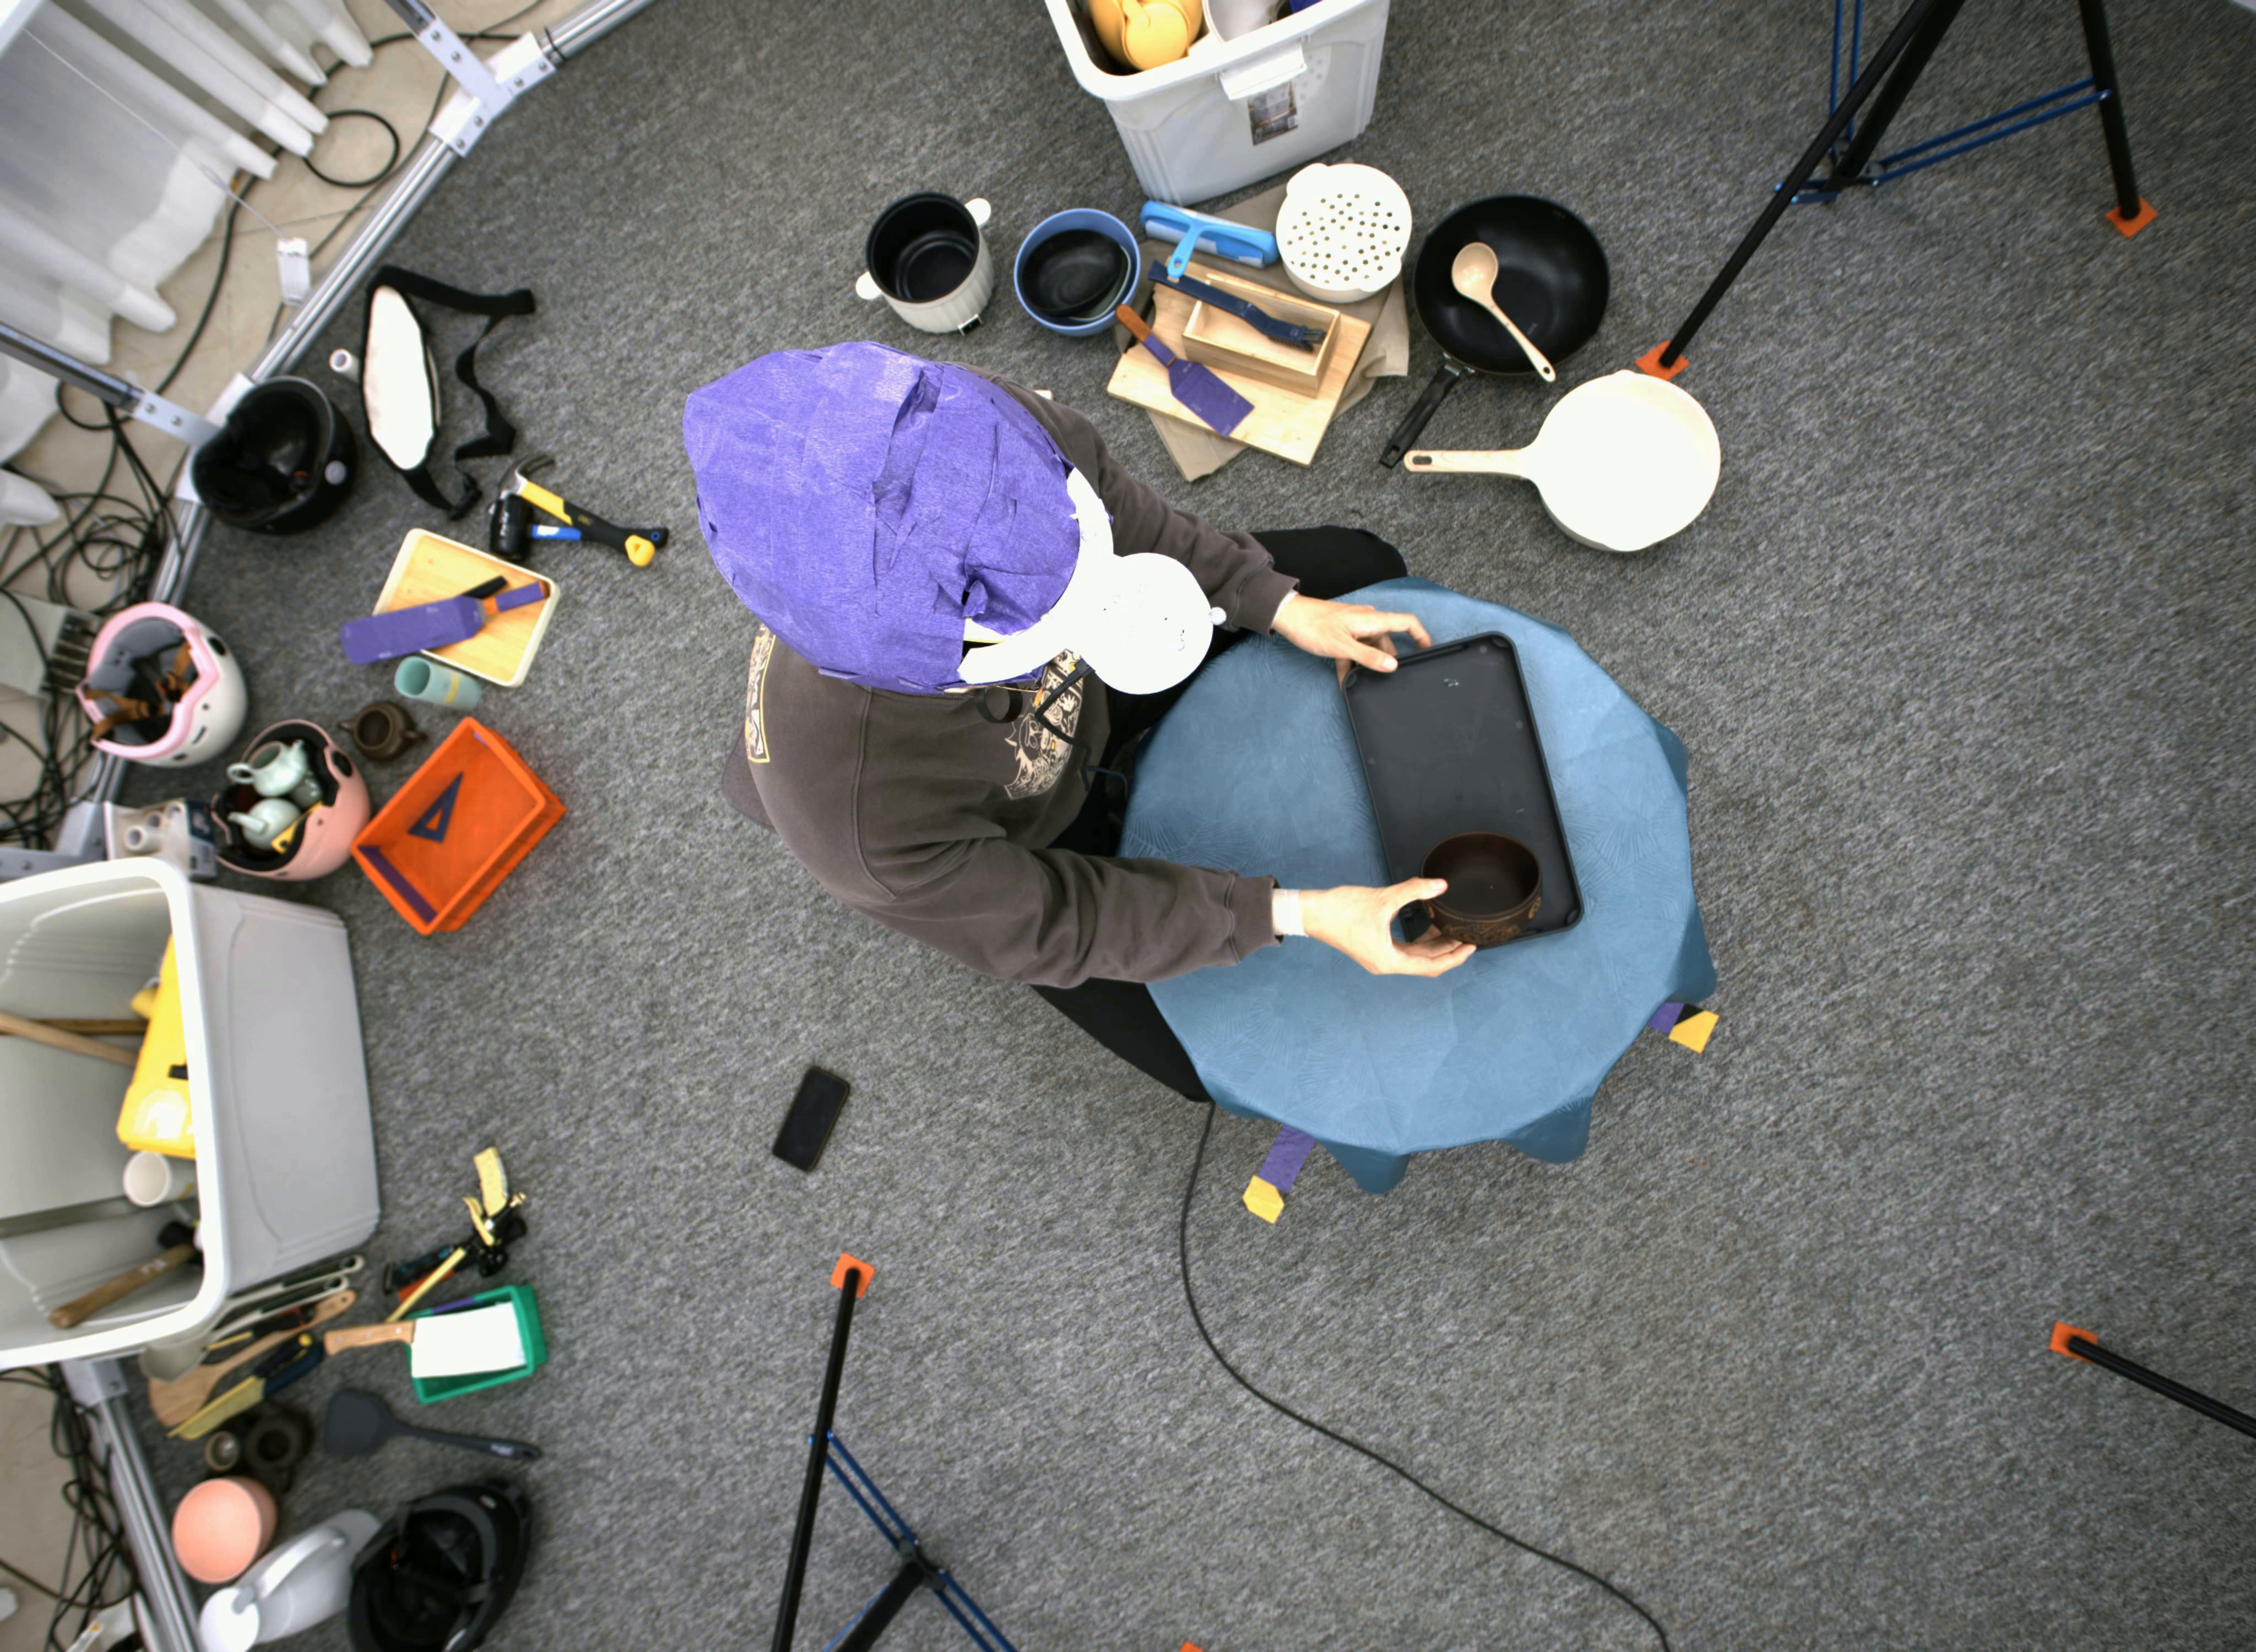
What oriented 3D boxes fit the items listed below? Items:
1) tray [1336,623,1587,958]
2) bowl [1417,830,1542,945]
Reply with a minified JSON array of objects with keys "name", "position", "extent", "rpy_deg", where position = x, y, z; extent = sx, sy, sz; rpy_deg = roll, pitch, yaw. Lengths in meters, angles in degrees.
[{"name":"tray","position":[0.343,-0.038,1.423],"extent":[0.185,0.037,0.317],"rpy_deg":[-16,88,10]},{"name":"bowl","position":[0.339,0.066,1.331],"extent":[0.118,0.071,0.115],"rpy_deg":[-9,44,8]}]
